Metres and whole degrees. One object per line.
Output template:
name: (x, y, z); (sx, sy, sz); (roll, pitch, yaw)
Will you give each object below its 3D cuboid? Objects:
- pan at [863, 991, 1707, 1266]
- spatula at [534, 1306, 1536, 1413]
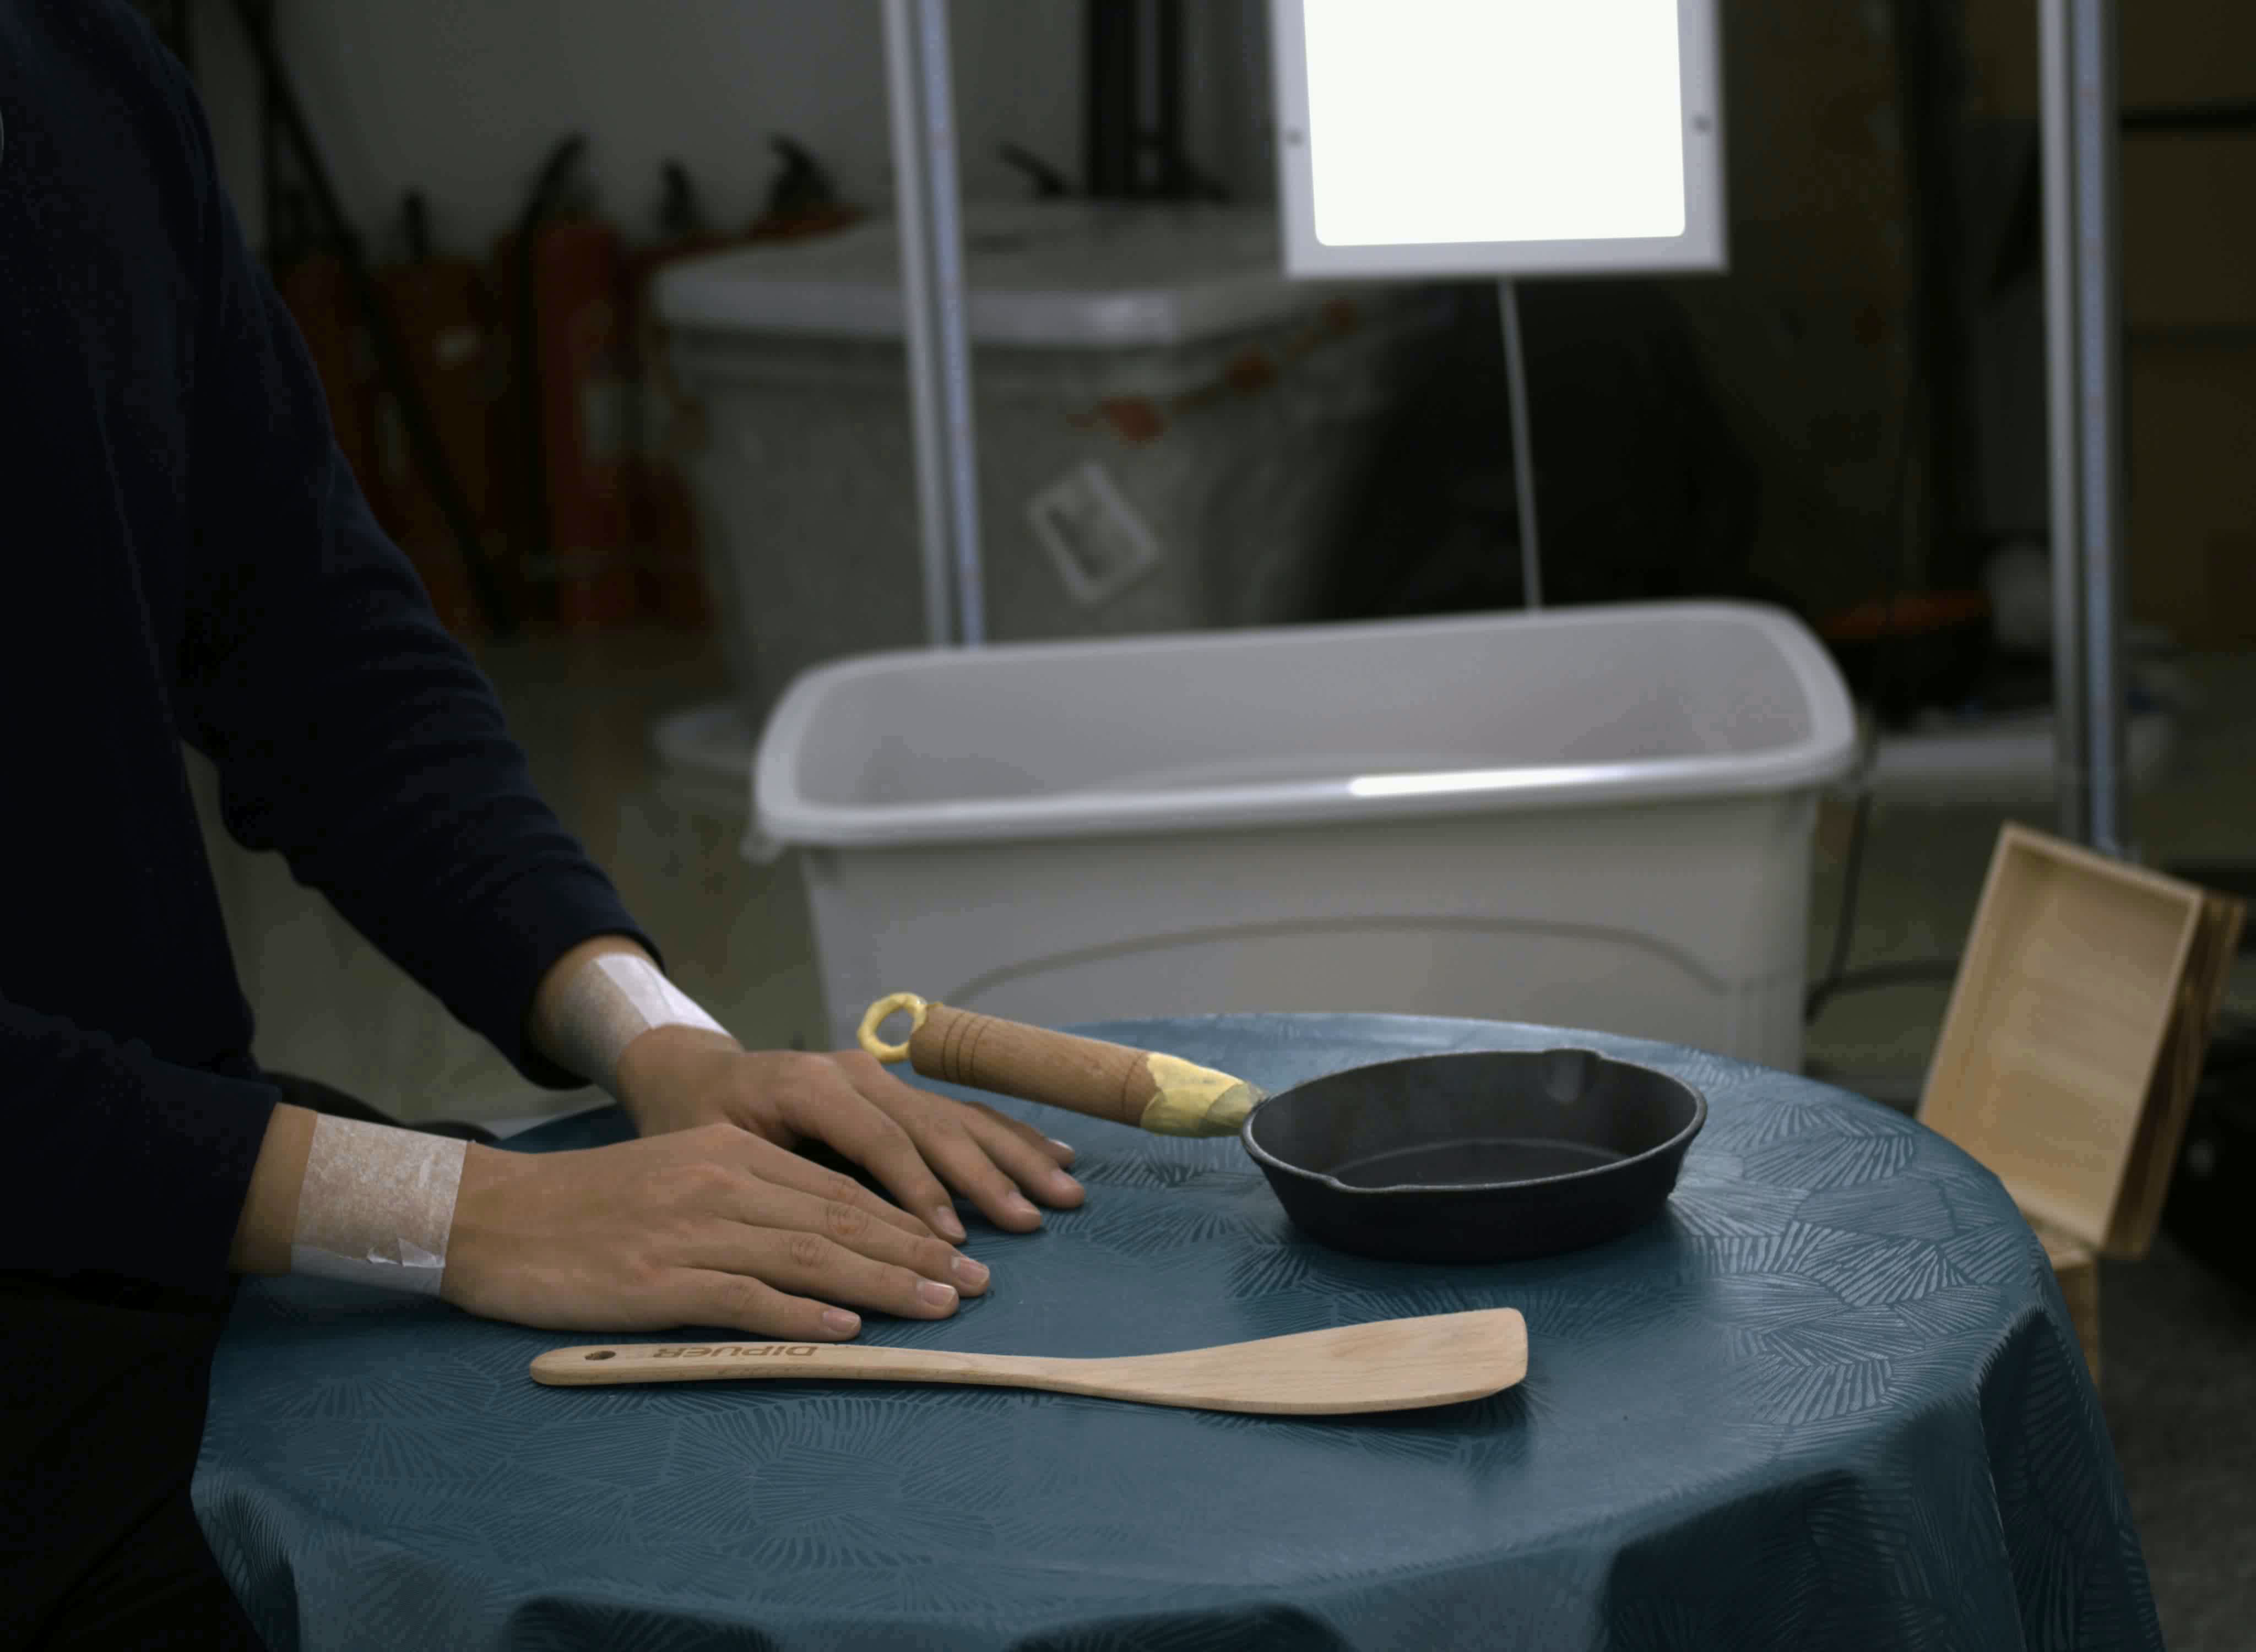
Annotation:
pan: (0.046, 0.098, 1.891); (0.330, 0.050, 0.165); (6, 18, 34)
spatula: (-0.030, 0.165, 1.716); (0.331, 0.016, 0.079); (-1, 14, 16)
